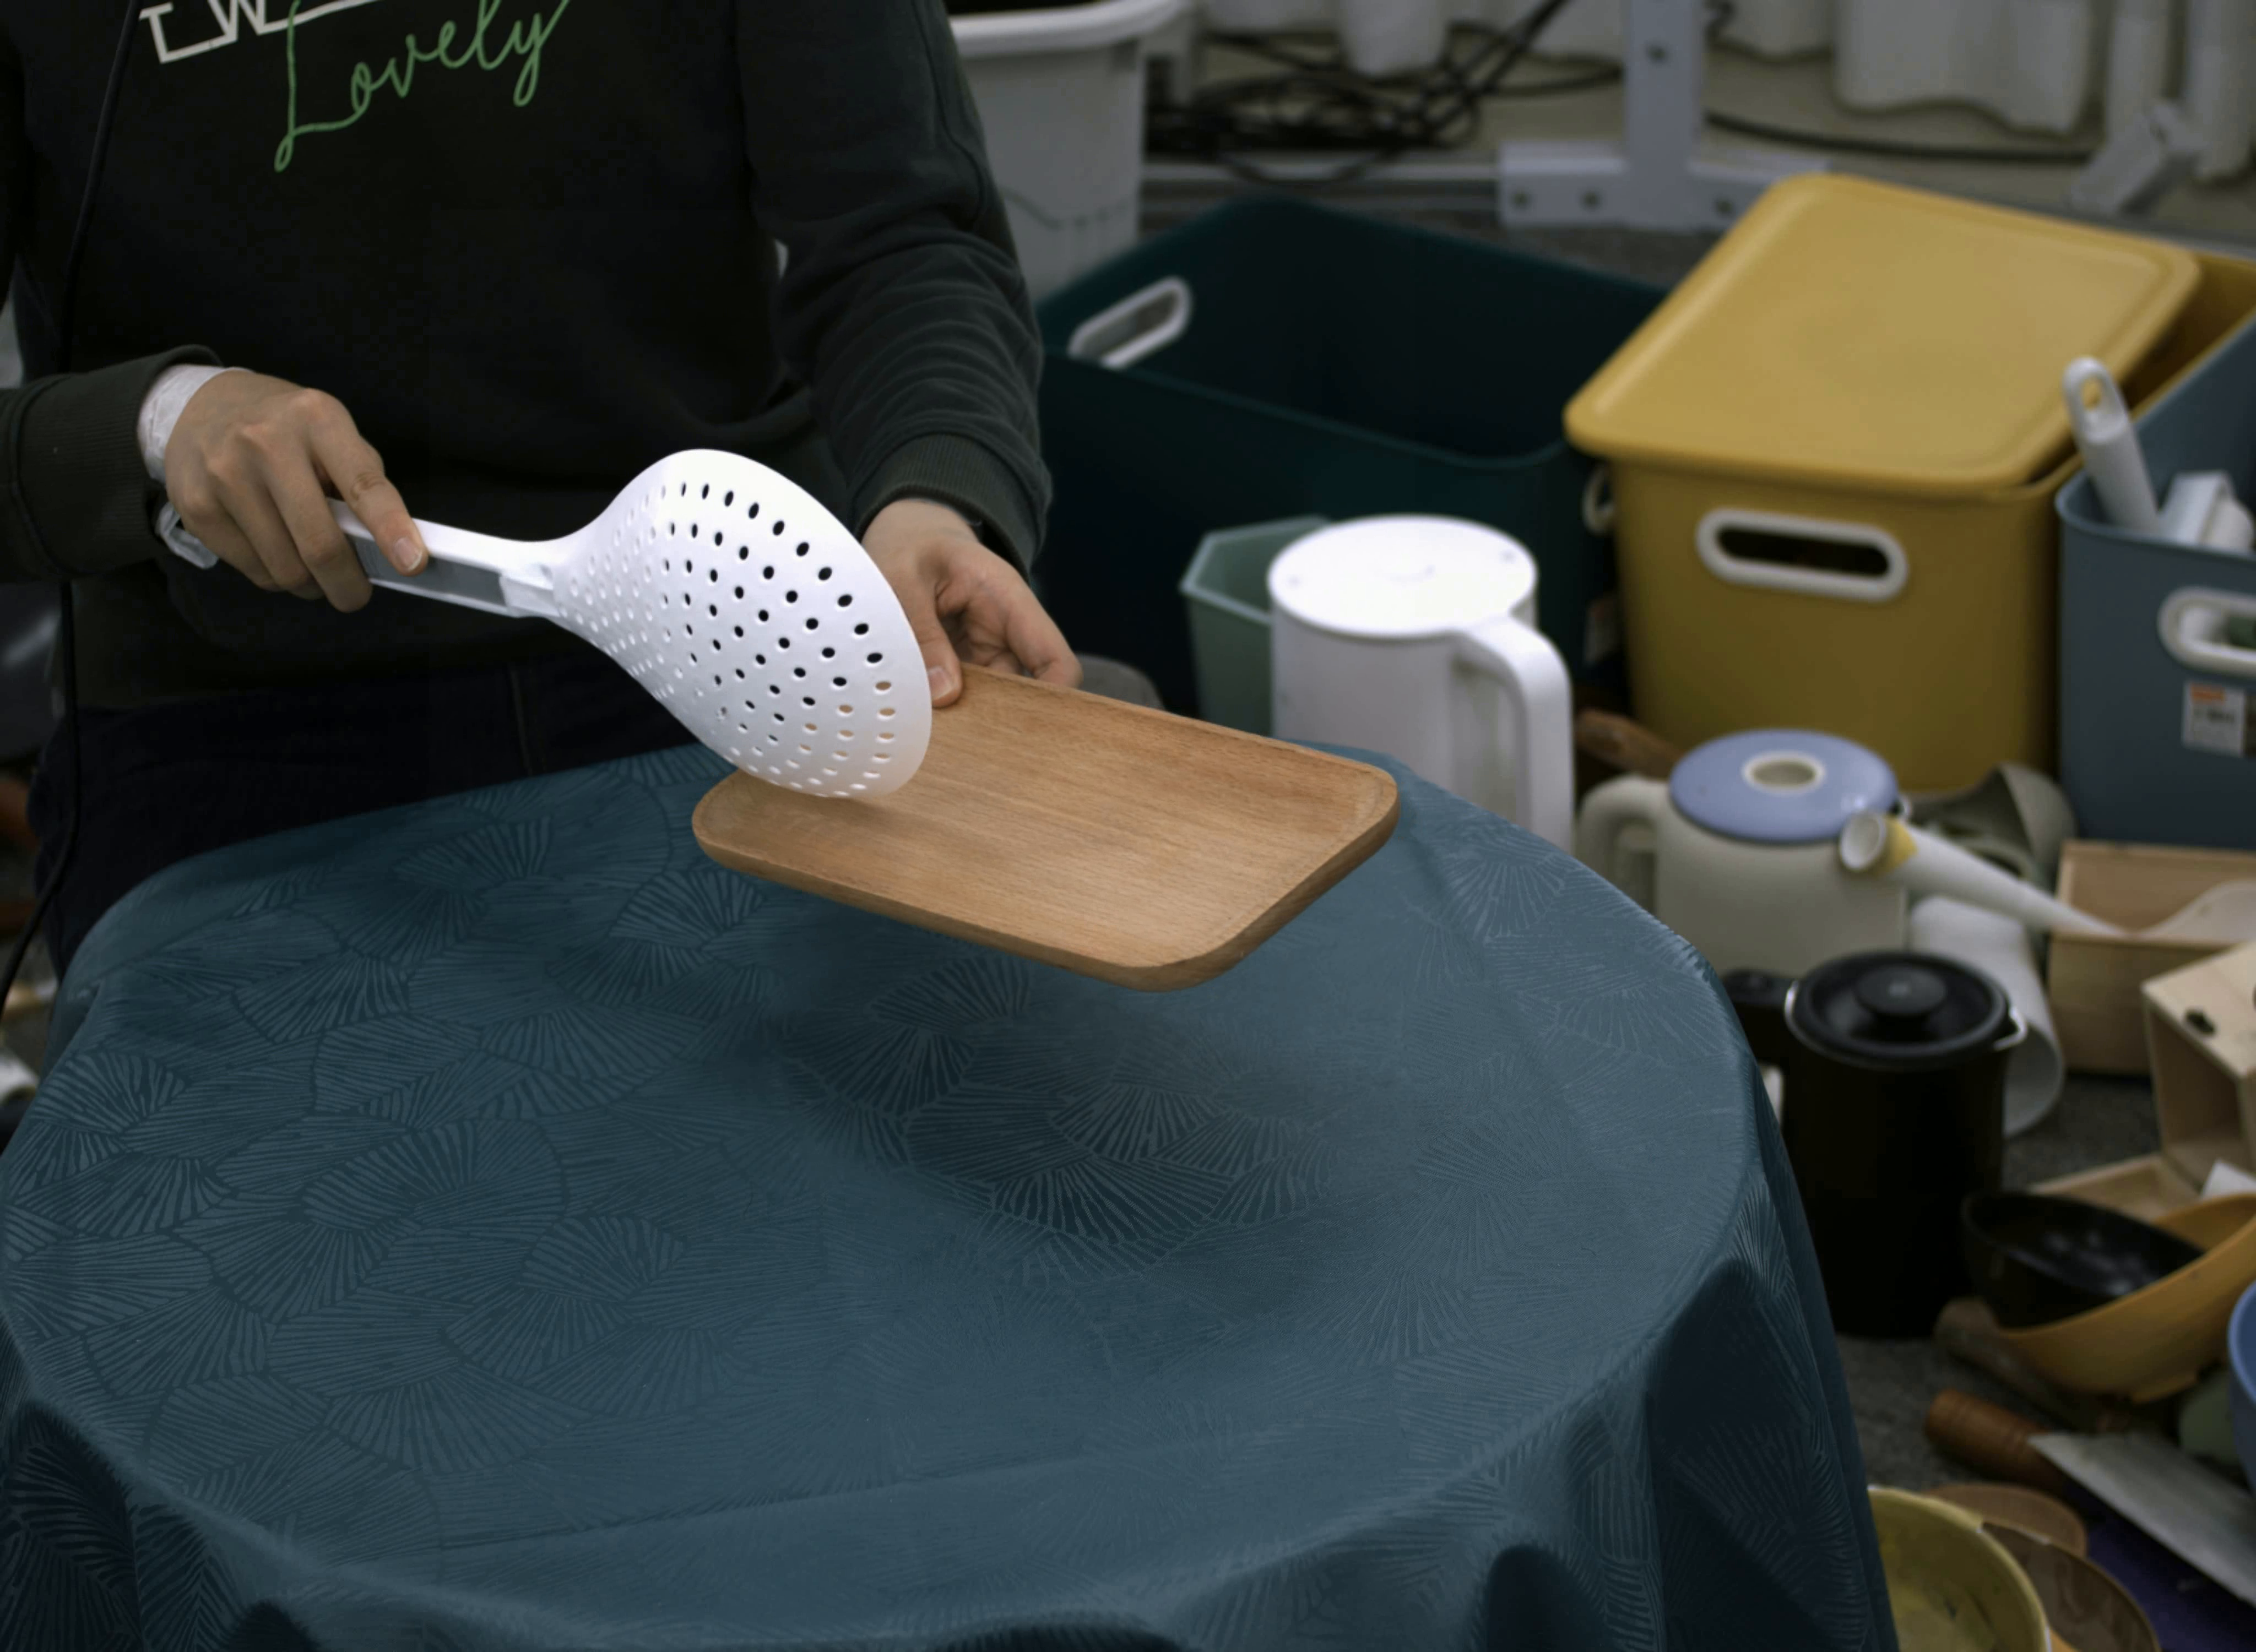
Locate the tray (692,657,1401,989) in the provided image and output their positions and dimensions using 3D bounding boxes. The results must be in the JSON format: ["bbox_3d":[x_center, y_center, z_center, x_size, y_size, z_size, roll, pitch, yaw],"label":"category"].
[{"bbox_3d":[-0.029,-0.003,1.878,0.249,0.022,0.132,14,38,44],"label":"tray"}]

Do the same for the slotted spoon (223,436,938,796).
[{"bbox_3d":[-0.199,-0.084,1.961,0.046,0.135,0.348,-34,33,-33],"label":"slotted spoon"}]
